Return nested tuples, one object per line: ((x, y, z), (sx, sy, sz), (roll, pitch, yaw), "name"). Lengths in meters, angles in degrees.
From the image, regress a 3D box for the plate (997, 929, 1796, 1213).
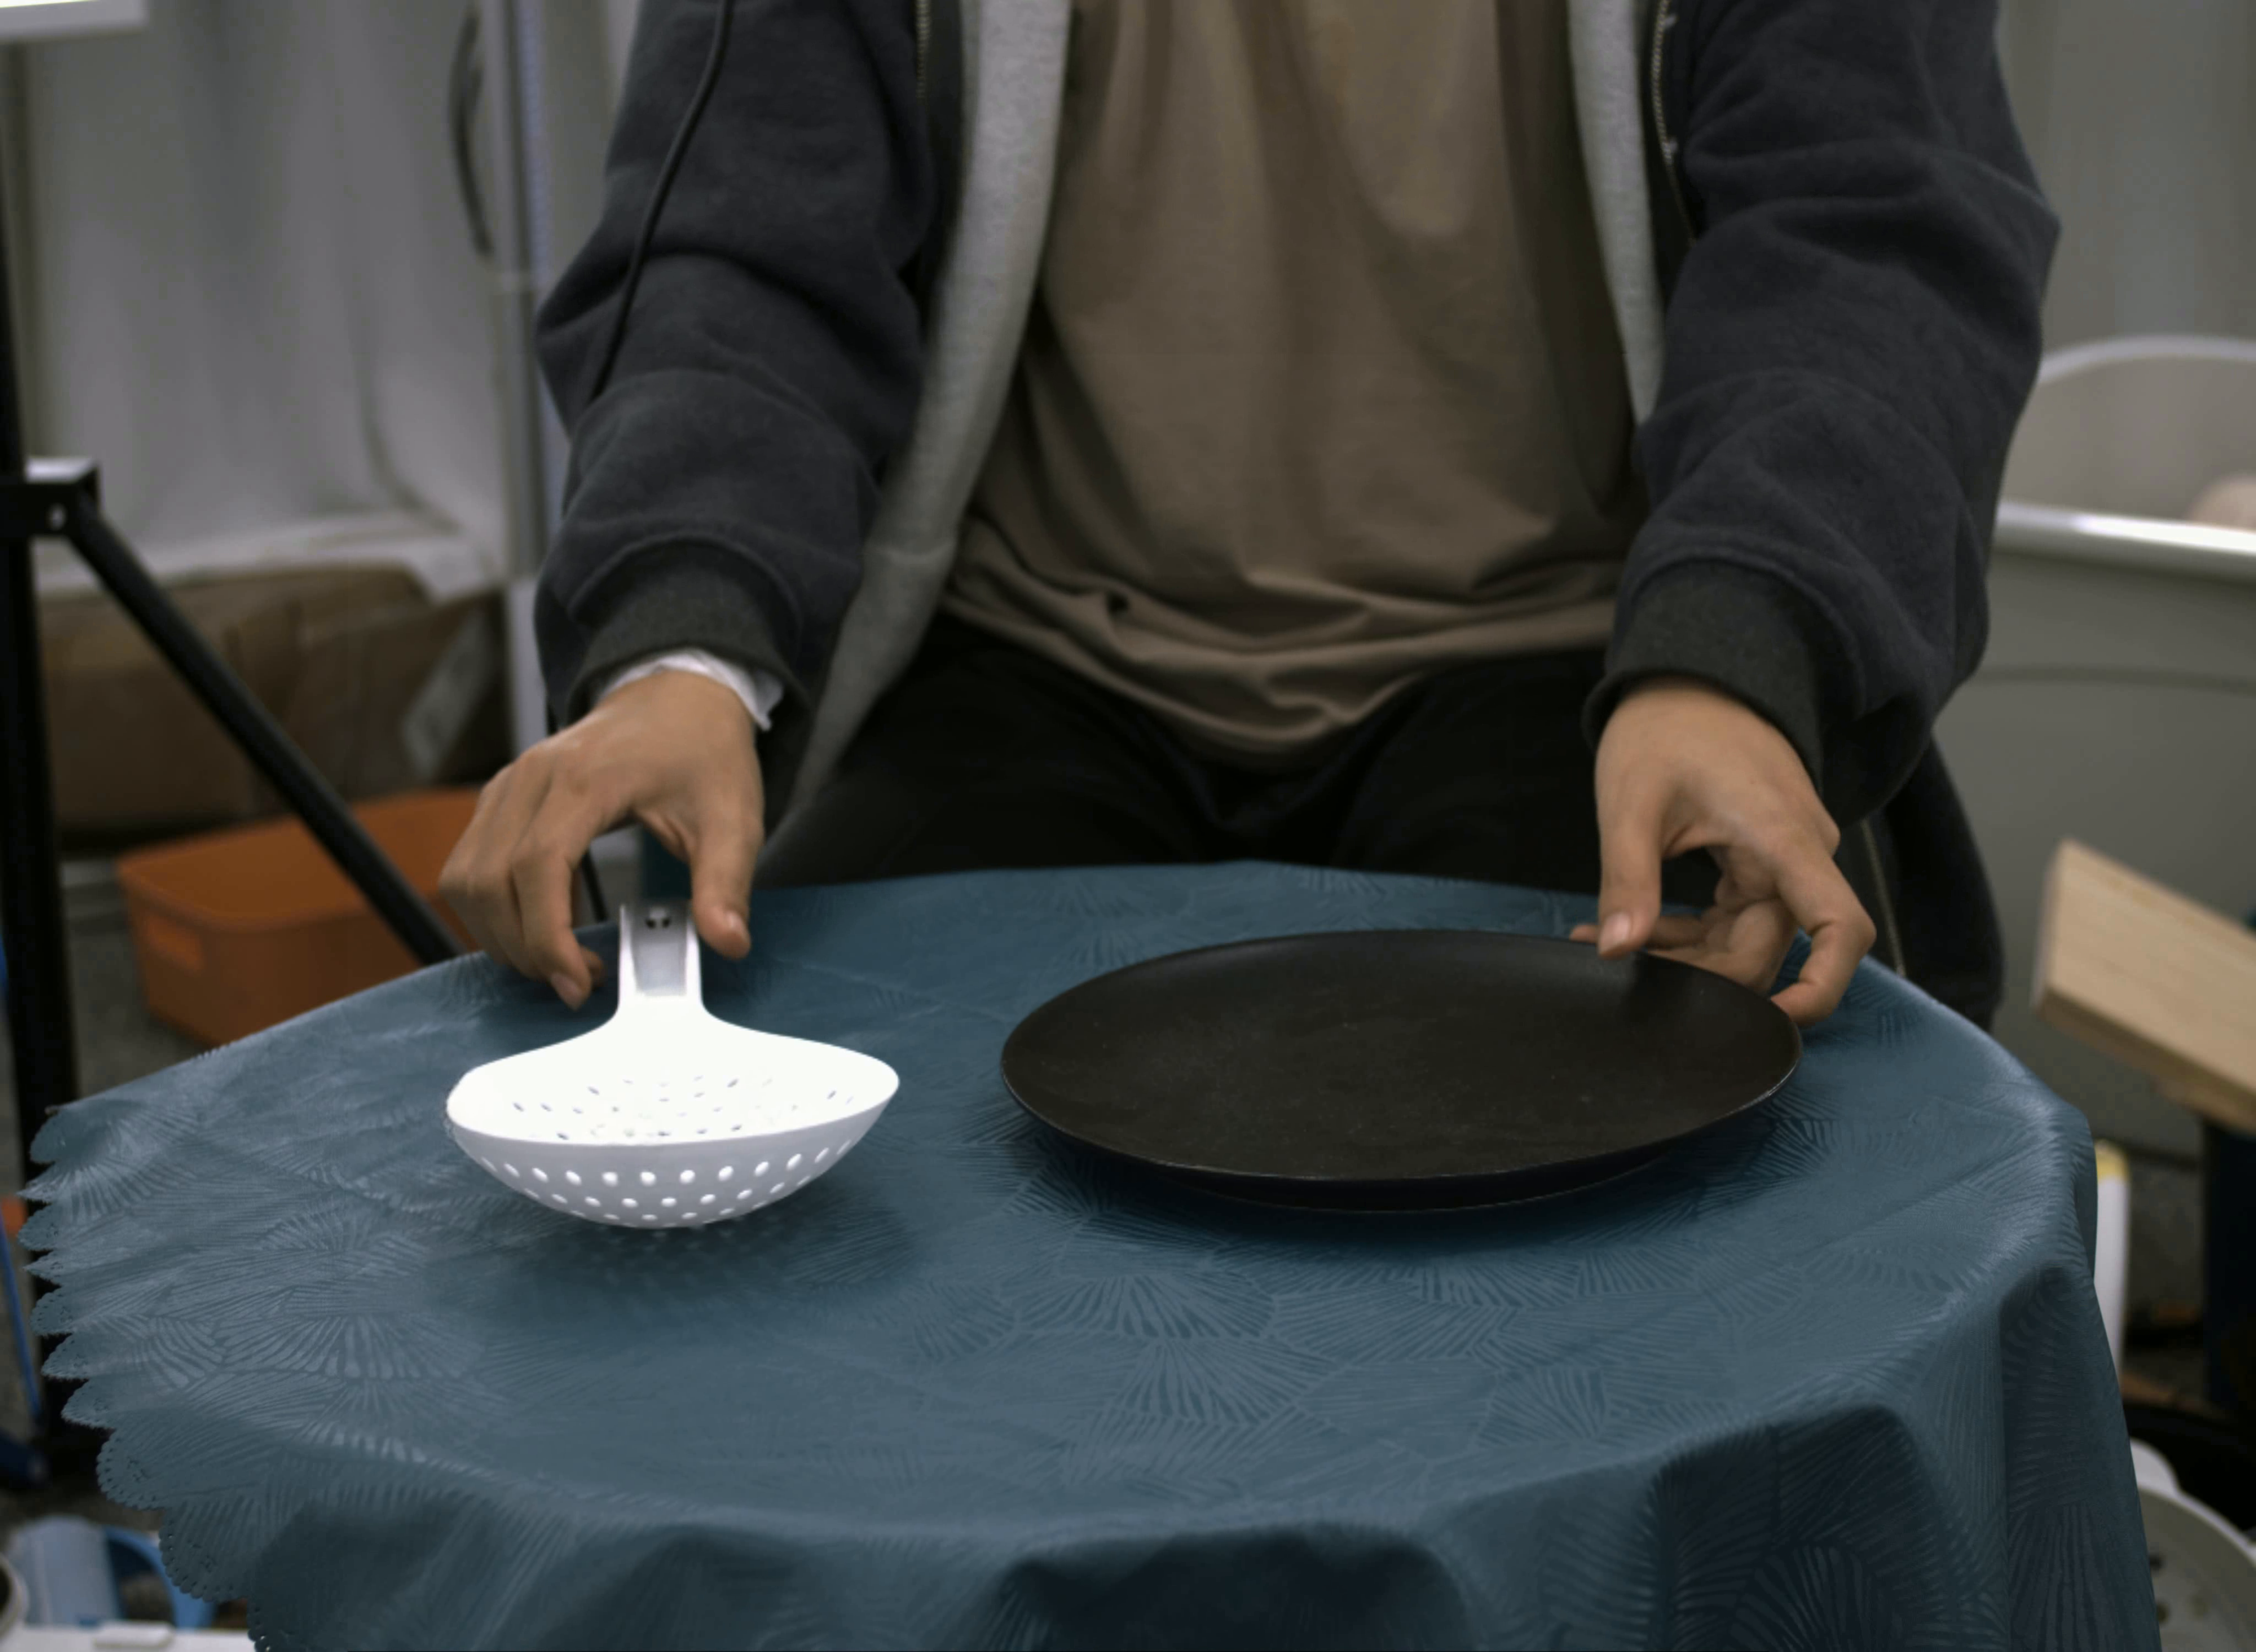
((0.081, 0.077, 1.615), (0.243, 0.023, 0.245), (-3, 16, -1), "plate")

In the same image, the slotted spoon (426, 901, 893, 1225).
((-0.146, 0.064, 1.657), (0.135, 0.046, 0.352), (-2, 15, -5), "slotted spoon")
